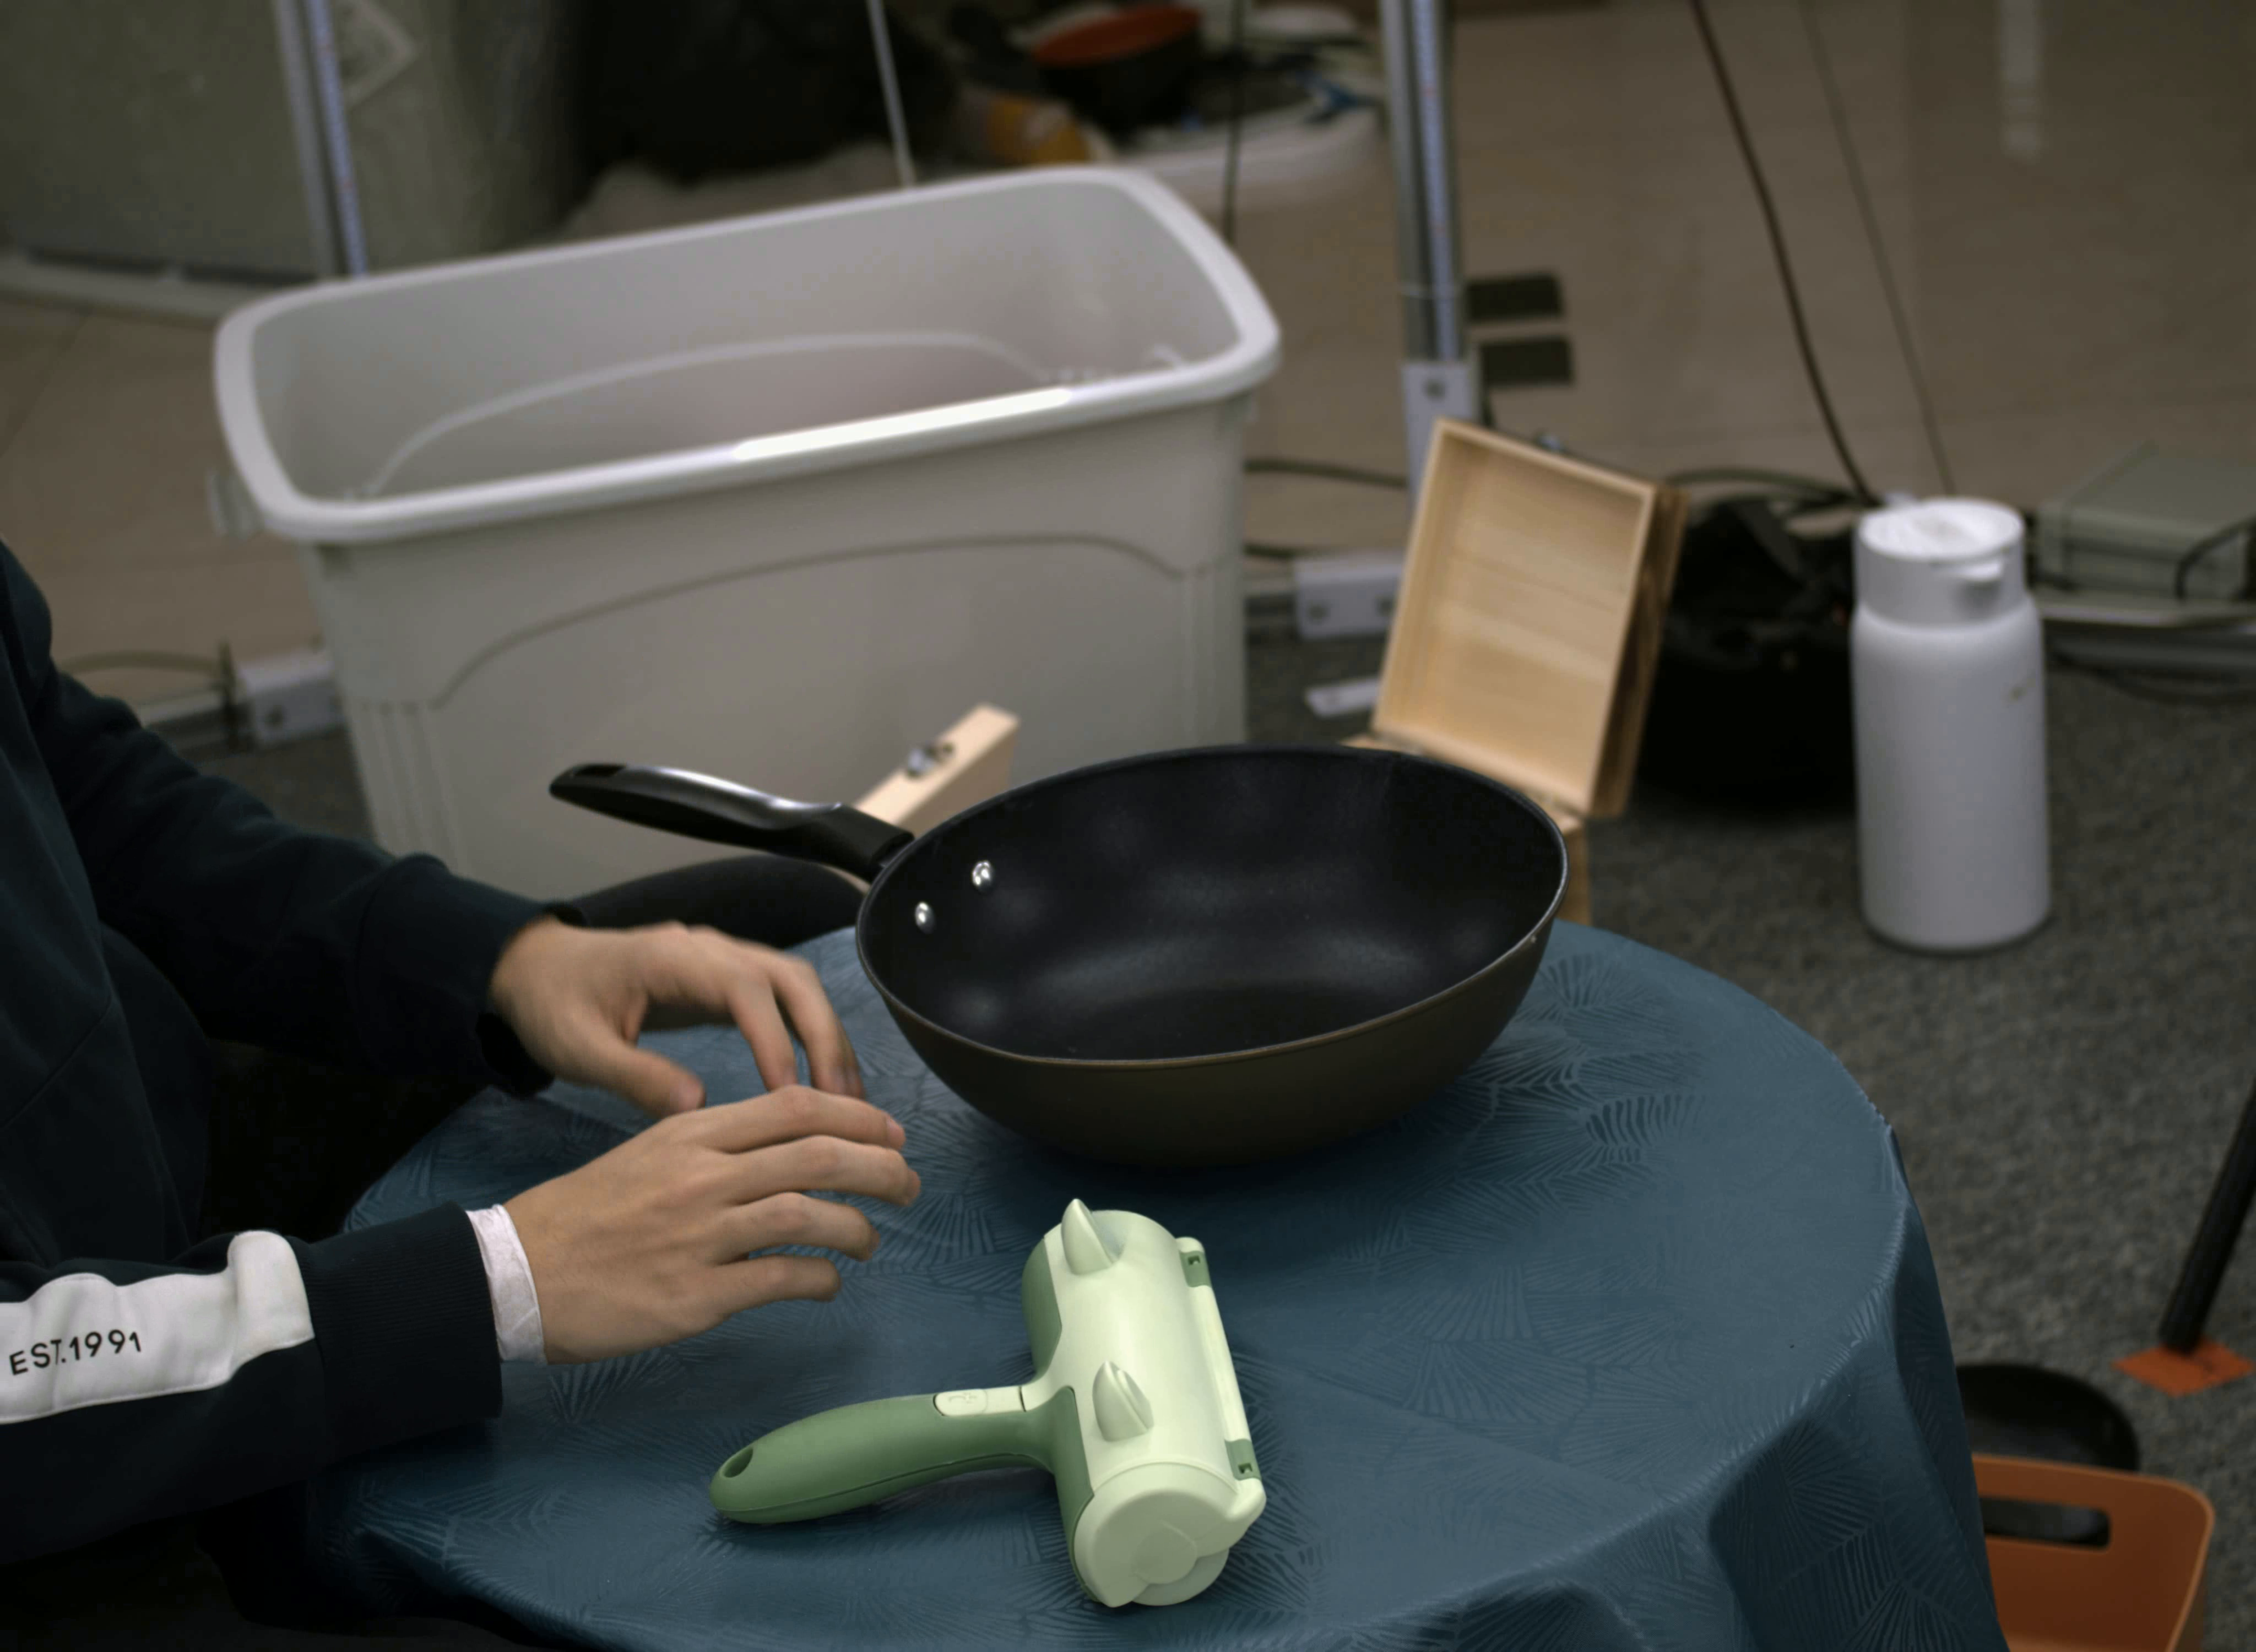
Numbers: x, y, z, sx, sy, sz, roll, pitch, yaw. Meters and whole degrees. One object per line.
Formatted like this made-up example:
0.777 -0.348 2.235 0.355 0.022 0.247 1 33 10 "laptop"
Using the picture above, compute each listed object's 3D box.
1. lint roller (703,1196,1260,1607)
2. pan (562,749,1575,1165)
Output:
-0.056 0.194 1.949 0.183 0.083 0.195 -3 25 -5 "lint roller"
-0.039 0.048 2.250 0.461 0.088 0.285 9 28 32 "pan"
